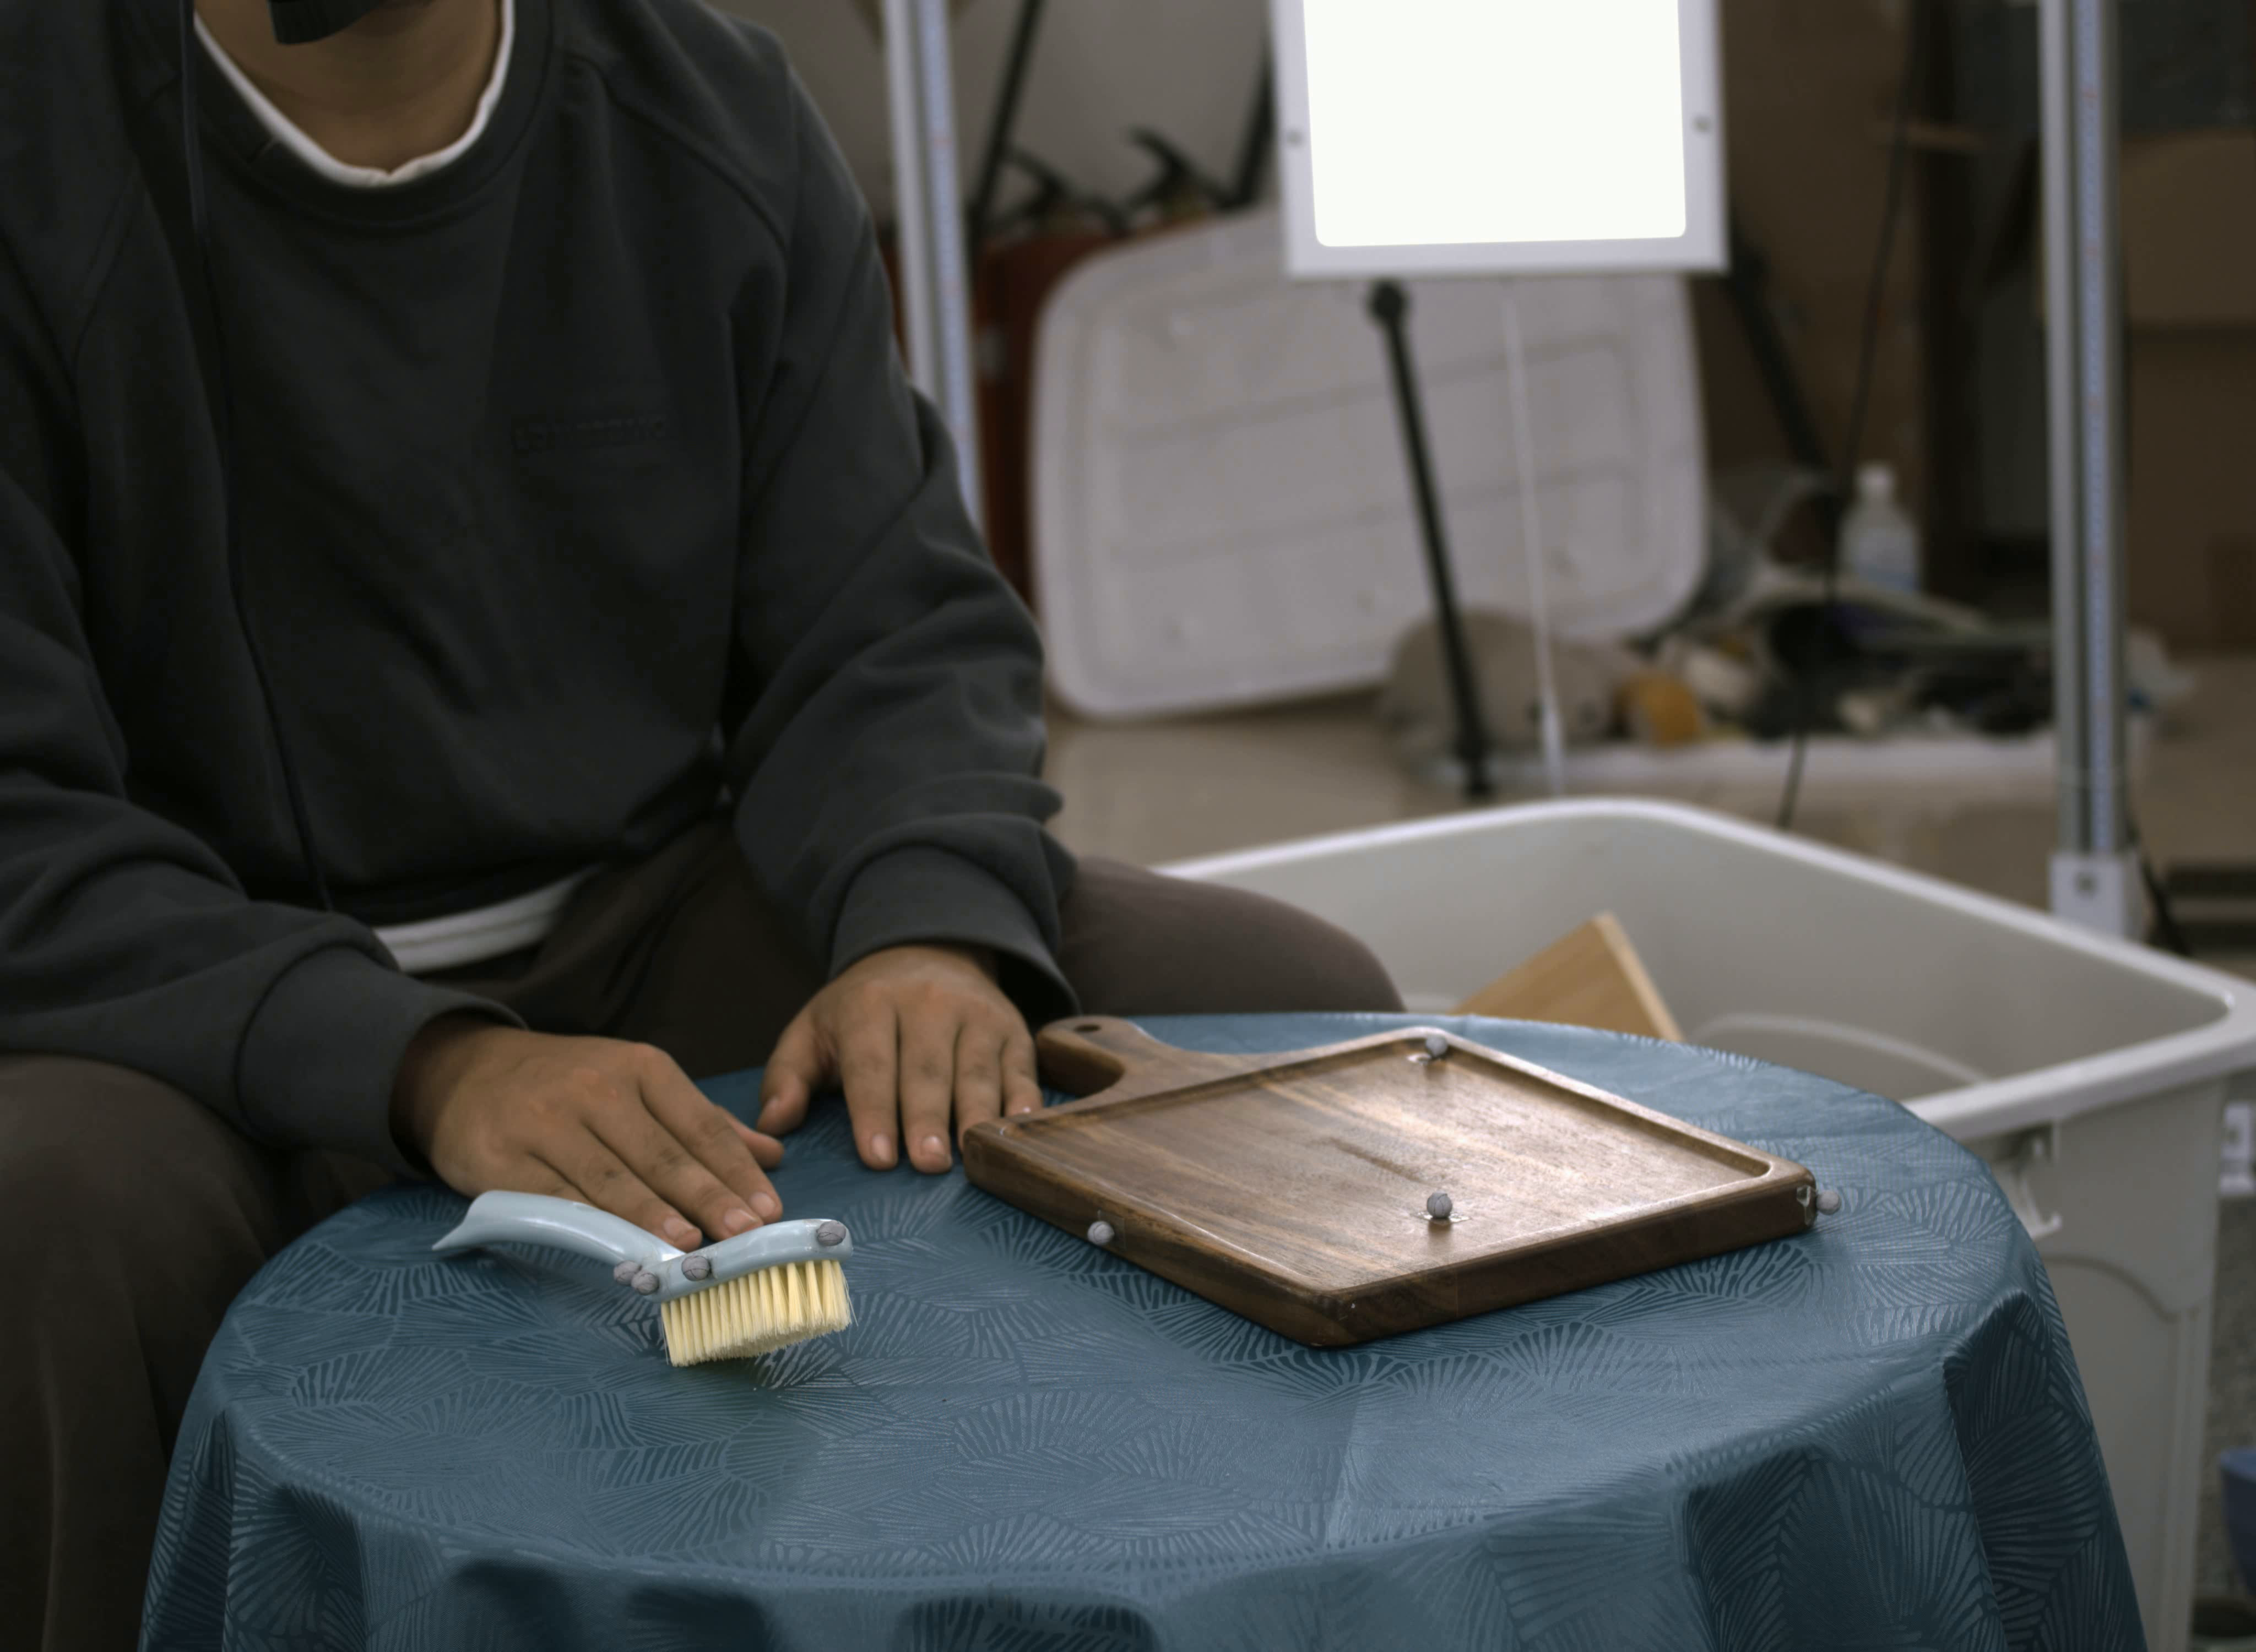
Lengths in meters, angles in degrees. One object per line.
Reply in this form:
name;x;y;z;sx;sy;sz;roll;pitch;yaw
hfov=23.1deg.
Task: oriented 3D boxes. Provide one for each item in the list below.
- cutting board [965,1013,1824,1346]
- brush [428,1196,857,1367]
cutting board;0.063;0.109;1.905;0.197;0.023;0.358;-11;15;-26
brush;-0.163;0.148;1.802;0.037;0.050;0.234;0;0;-38
